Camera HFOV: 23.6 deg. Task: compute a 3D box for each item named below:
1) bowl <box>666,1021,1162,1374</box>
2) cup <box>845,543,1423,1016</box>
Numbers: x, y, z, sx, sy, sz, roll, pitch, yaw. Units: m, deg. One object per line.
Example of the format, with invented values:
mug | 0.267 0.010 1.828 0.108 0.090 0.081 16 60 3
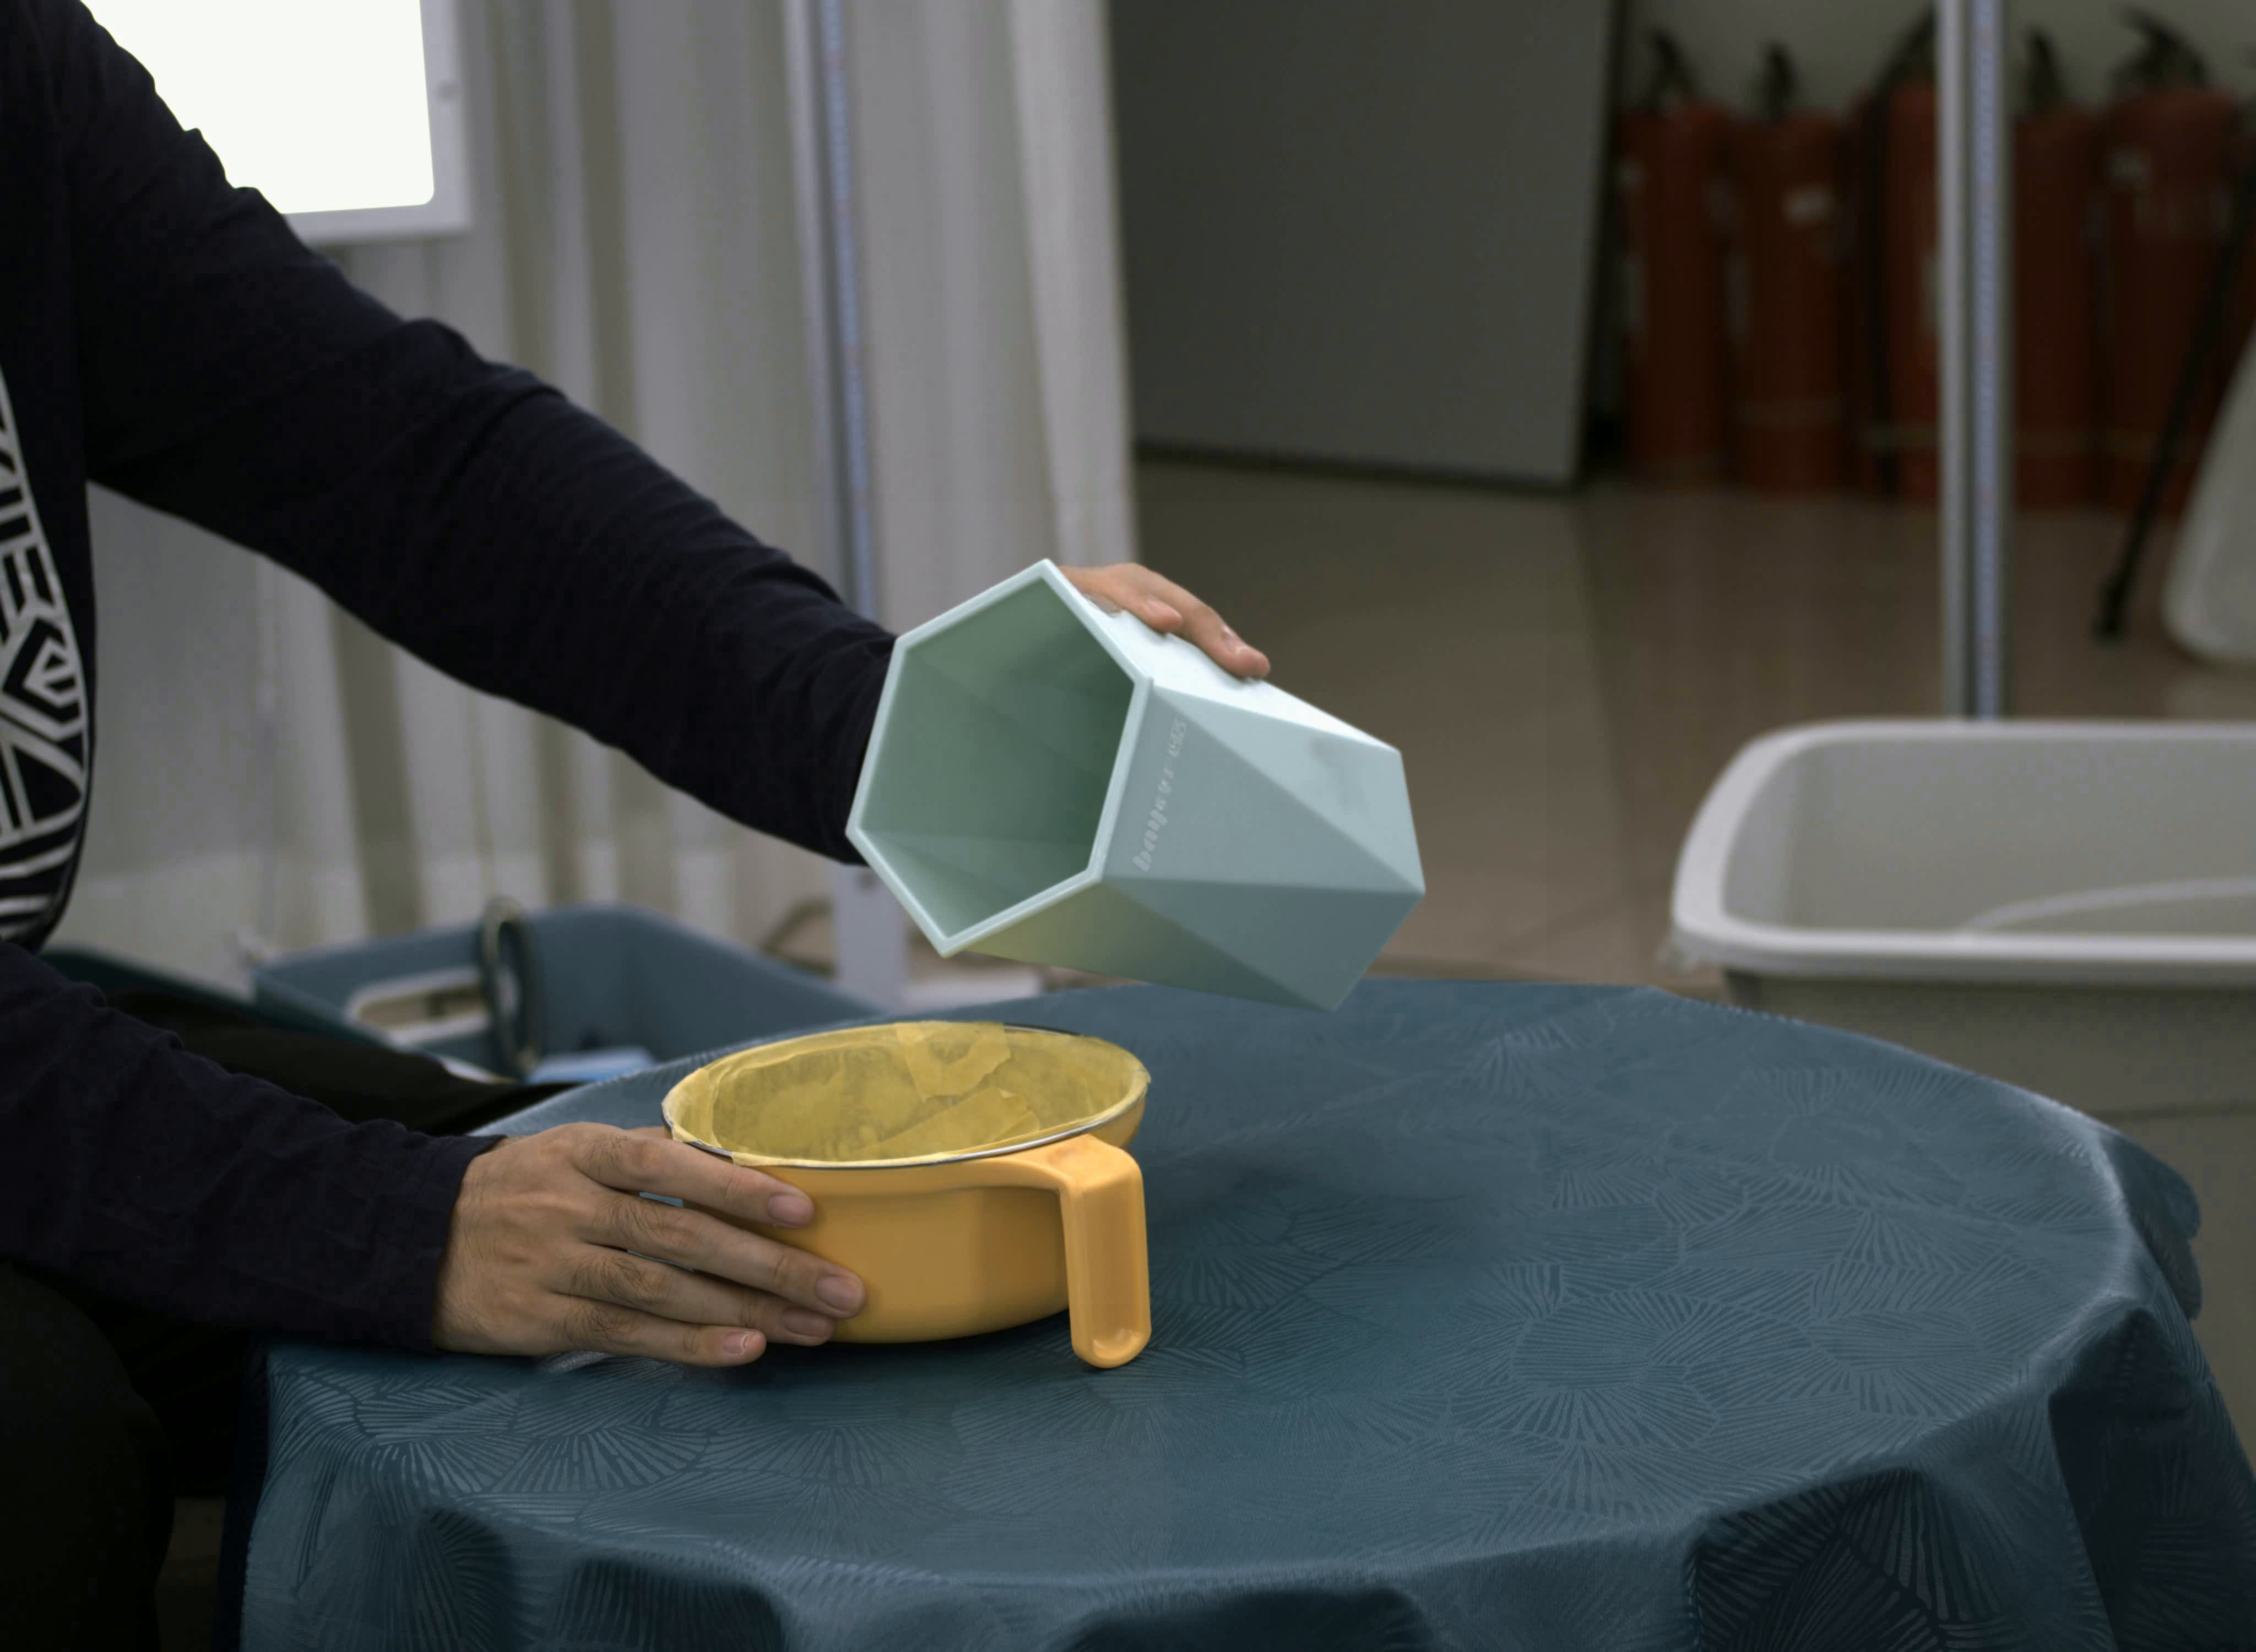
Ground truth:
bowl | -0.058 0.117 1.669 0.150 0.075 0.181 -15 15 -39
cup | 0.009 -0.005 1.750 0.116 0.132 0.159 6 -11 45
